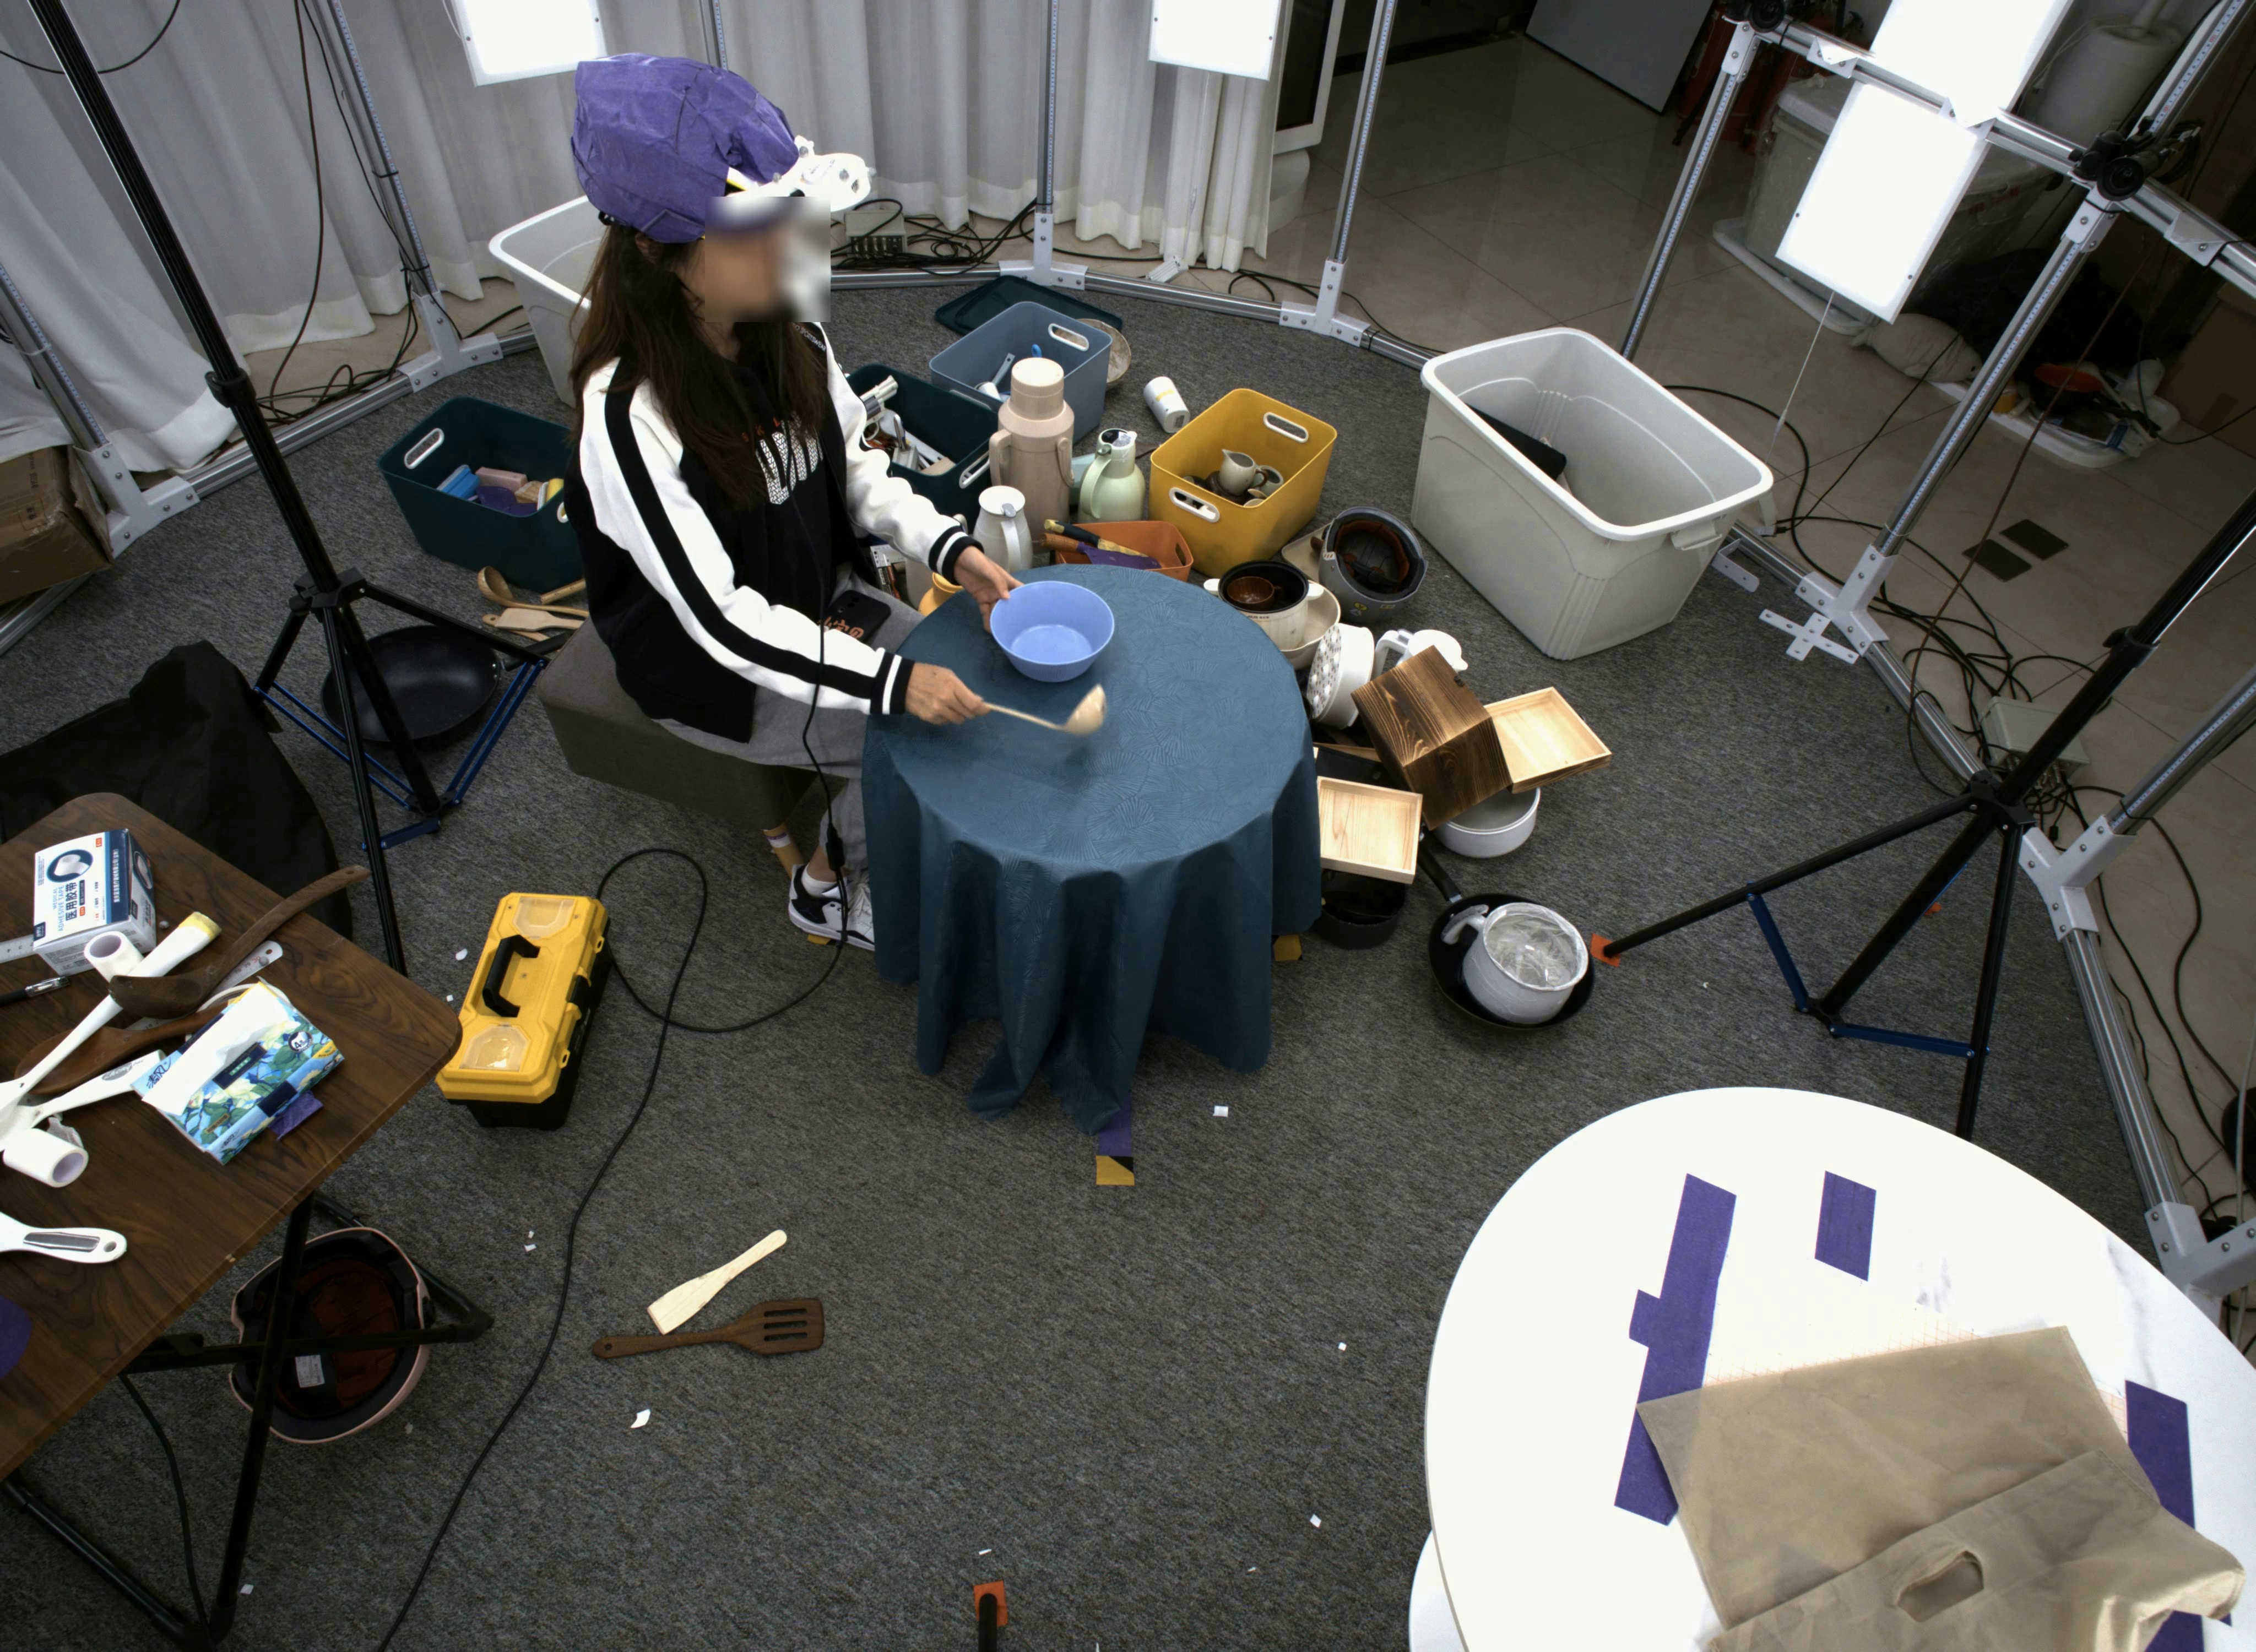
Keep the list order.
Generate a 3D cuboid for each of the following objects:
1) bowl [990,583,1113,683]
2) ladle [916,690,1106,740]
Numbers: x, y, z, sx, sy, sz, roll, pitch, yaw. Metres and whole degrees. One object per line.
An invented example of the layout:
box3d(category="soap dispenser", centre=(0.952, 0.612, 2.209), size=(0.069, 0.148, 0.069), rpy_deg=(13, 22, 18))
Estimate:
box3d(category="bowl", centre=(-0.110, -0.269, 1.851), size=(0.176, 0.068, 0.180), rpy_deg=(2, 48, -3))
box3d(category="ladle", centre=(-0.154, -0.174, 1.722), size=(0.255, 0.072, 0.072), rpy_deg=(14, 4, 5))
